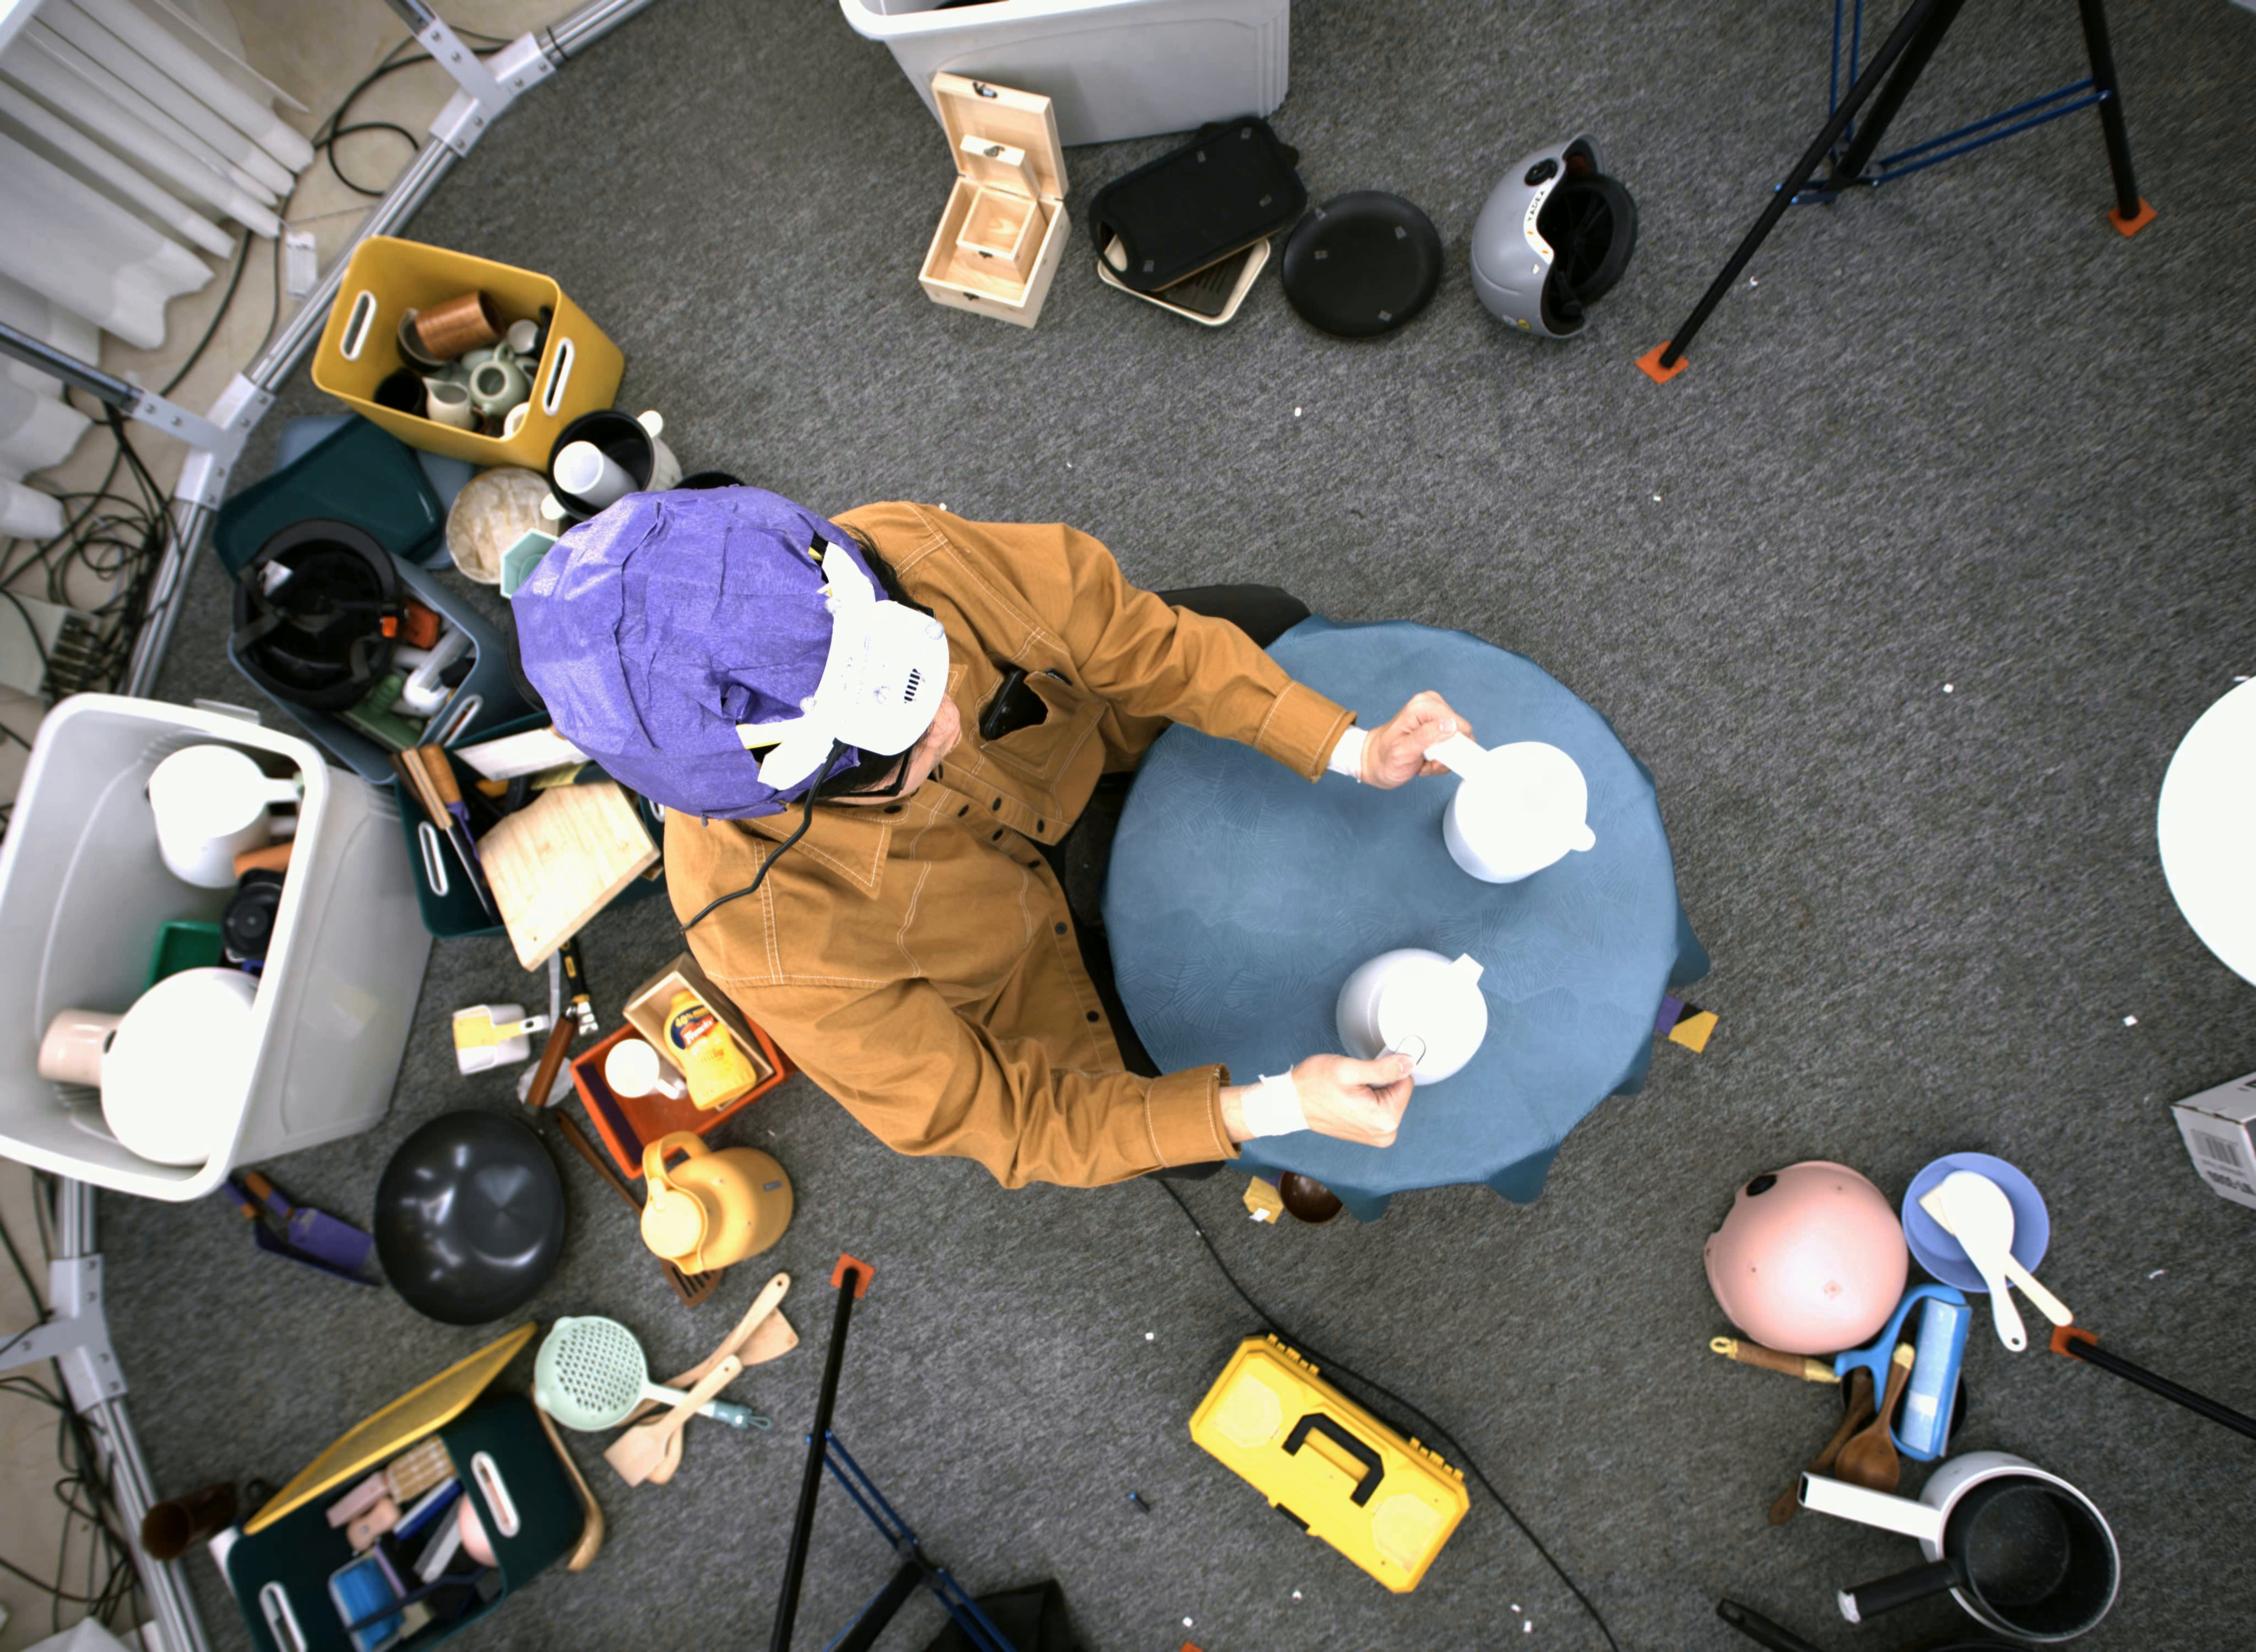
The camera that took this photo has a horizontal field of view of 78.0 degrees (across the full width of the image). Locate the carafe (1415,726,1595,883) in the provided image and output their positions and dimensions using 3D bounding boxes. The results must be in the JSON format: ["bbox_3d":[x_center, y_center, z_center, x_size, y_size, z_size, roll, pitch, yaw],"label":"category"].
[{"bbox_3d":[0.352,-0.021,1.314,0.172,0.268,0.124,36,94,11],"label":"carafe"}]

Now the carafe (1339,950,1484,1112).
[{"bbox_3d":[0.258,0.193,1.289,0.132,0.249,0.168,39,89,9],"label":"carafe"}]
